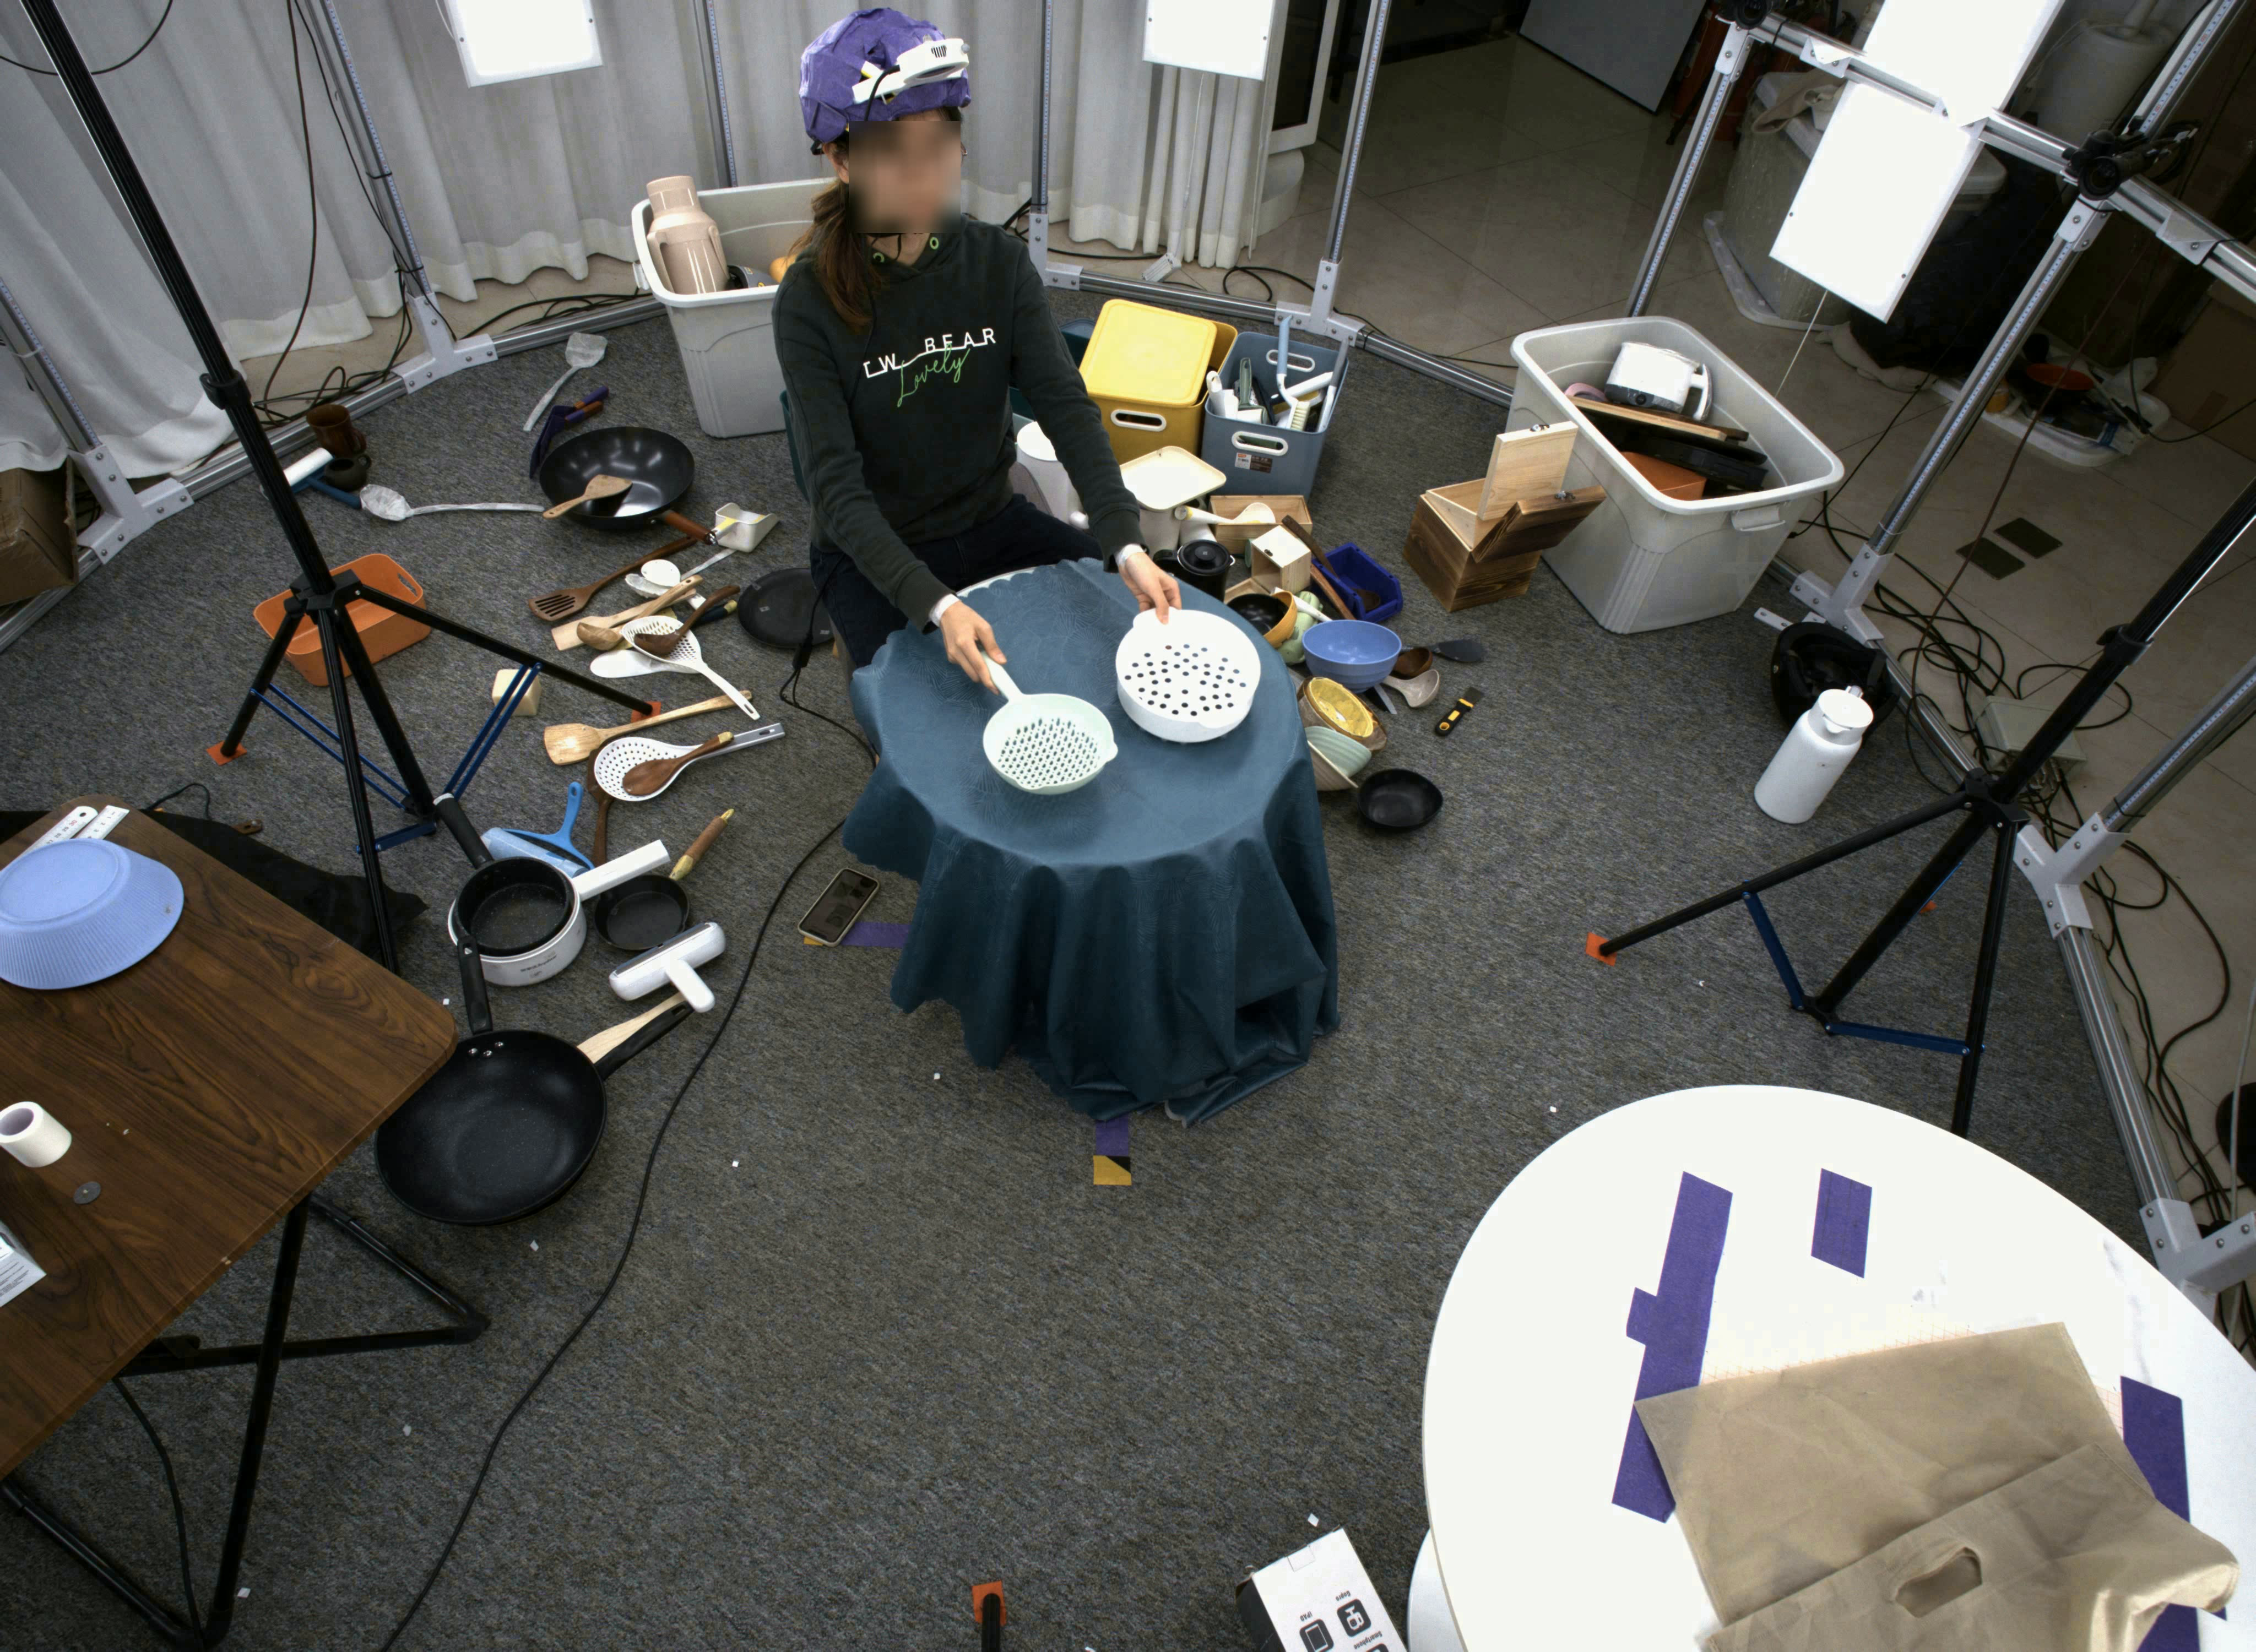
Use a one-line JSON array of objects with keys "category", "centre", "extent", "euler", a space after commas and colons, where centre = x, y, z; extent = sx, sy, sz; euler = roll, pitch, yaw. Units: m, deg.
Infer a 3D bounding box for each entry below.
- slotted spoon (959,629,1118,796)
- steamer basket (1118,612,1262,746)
[{"category": "slotted spoon", "centre": [-0.152, -0.170, 1.746], "extent": [0.170, 0.073, 0.366], "euler": [-21, 58, -20]}, {"category": "steamer basket", "centre": [0.086, -0.204, 1.814], "extent": [0.202, 0.067, 0.235], "euler": [-22, 57, -18]}]
